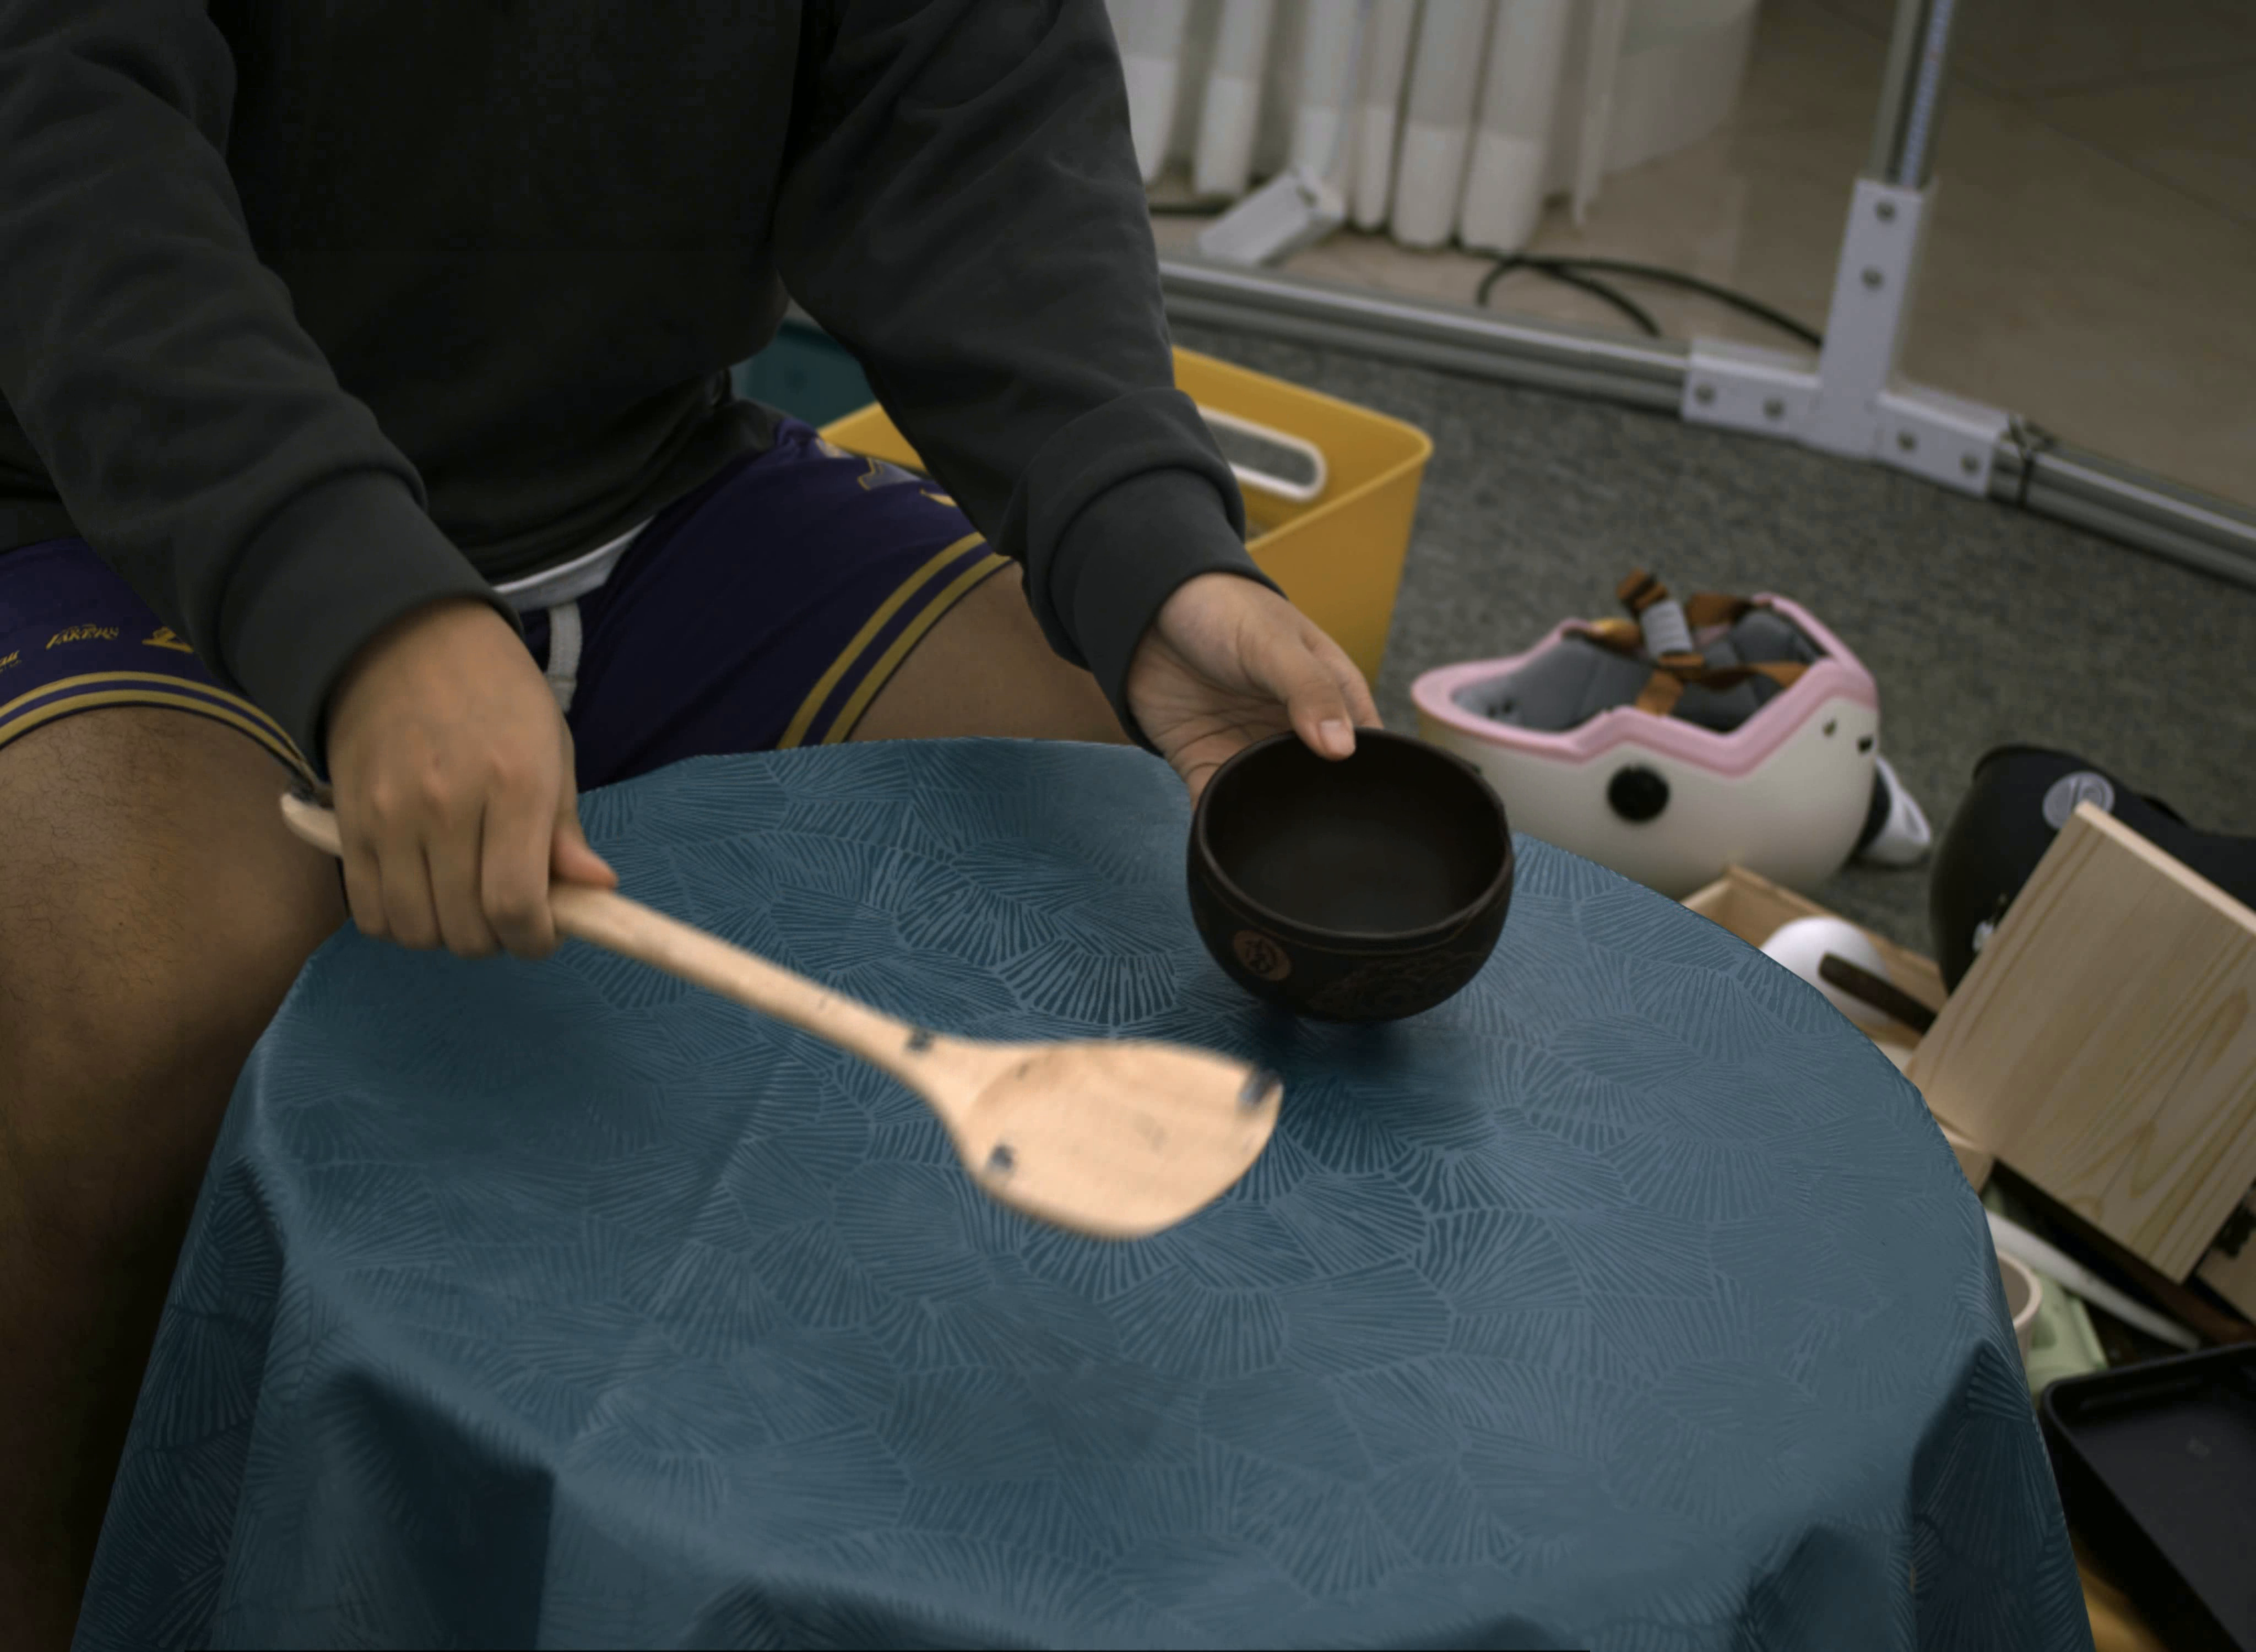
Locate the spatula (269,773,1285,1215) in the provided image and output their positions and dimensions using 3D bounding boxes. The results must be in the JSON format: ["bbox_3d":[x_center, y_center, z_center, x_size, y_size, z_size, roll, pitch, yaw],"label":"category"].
[{"bbox_3d":[-0.128,0.046,1.717,0.393,0.018,0.095,20,37,27],"label":"spatula"}]

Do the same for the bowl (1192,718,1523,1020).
[{"bbox_3d":[0.080,0.024,1.913,0.117,0.069,0.119,3,41,-3],"label":"bowl"}]
